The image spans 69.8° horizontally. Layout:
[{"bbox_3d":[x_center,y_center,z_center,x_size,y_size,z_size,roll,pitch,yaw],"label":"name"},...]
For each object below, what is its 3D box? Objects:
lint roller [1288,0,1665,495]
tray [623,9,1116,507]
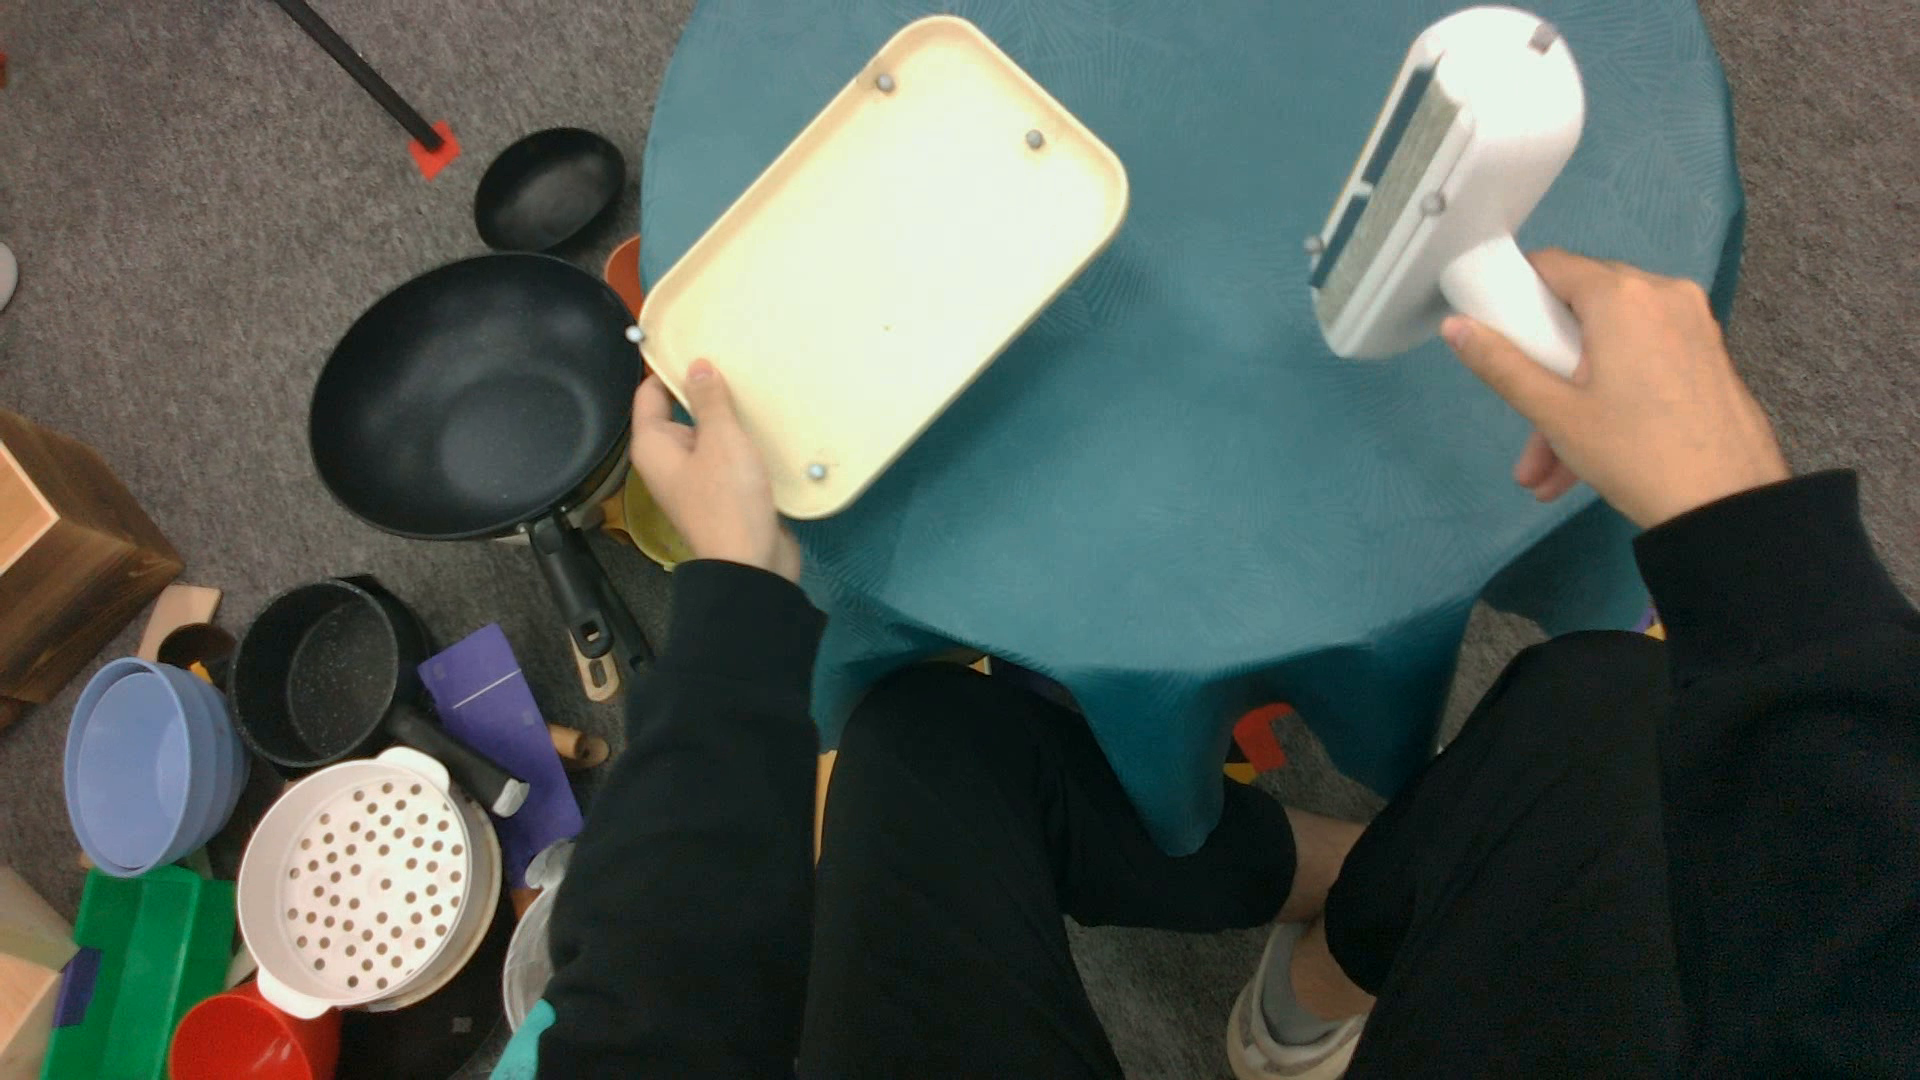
[{"bbox_3d":[0.217,-0.102,0.565,0.074,0.192,0.193,-16,75,-16],"label":"lint roller"},{"bbox_3d":[-0.049,-0.143,0.692,0.239,0.017,0.171,-44,68,4],"label":"tray"}]
